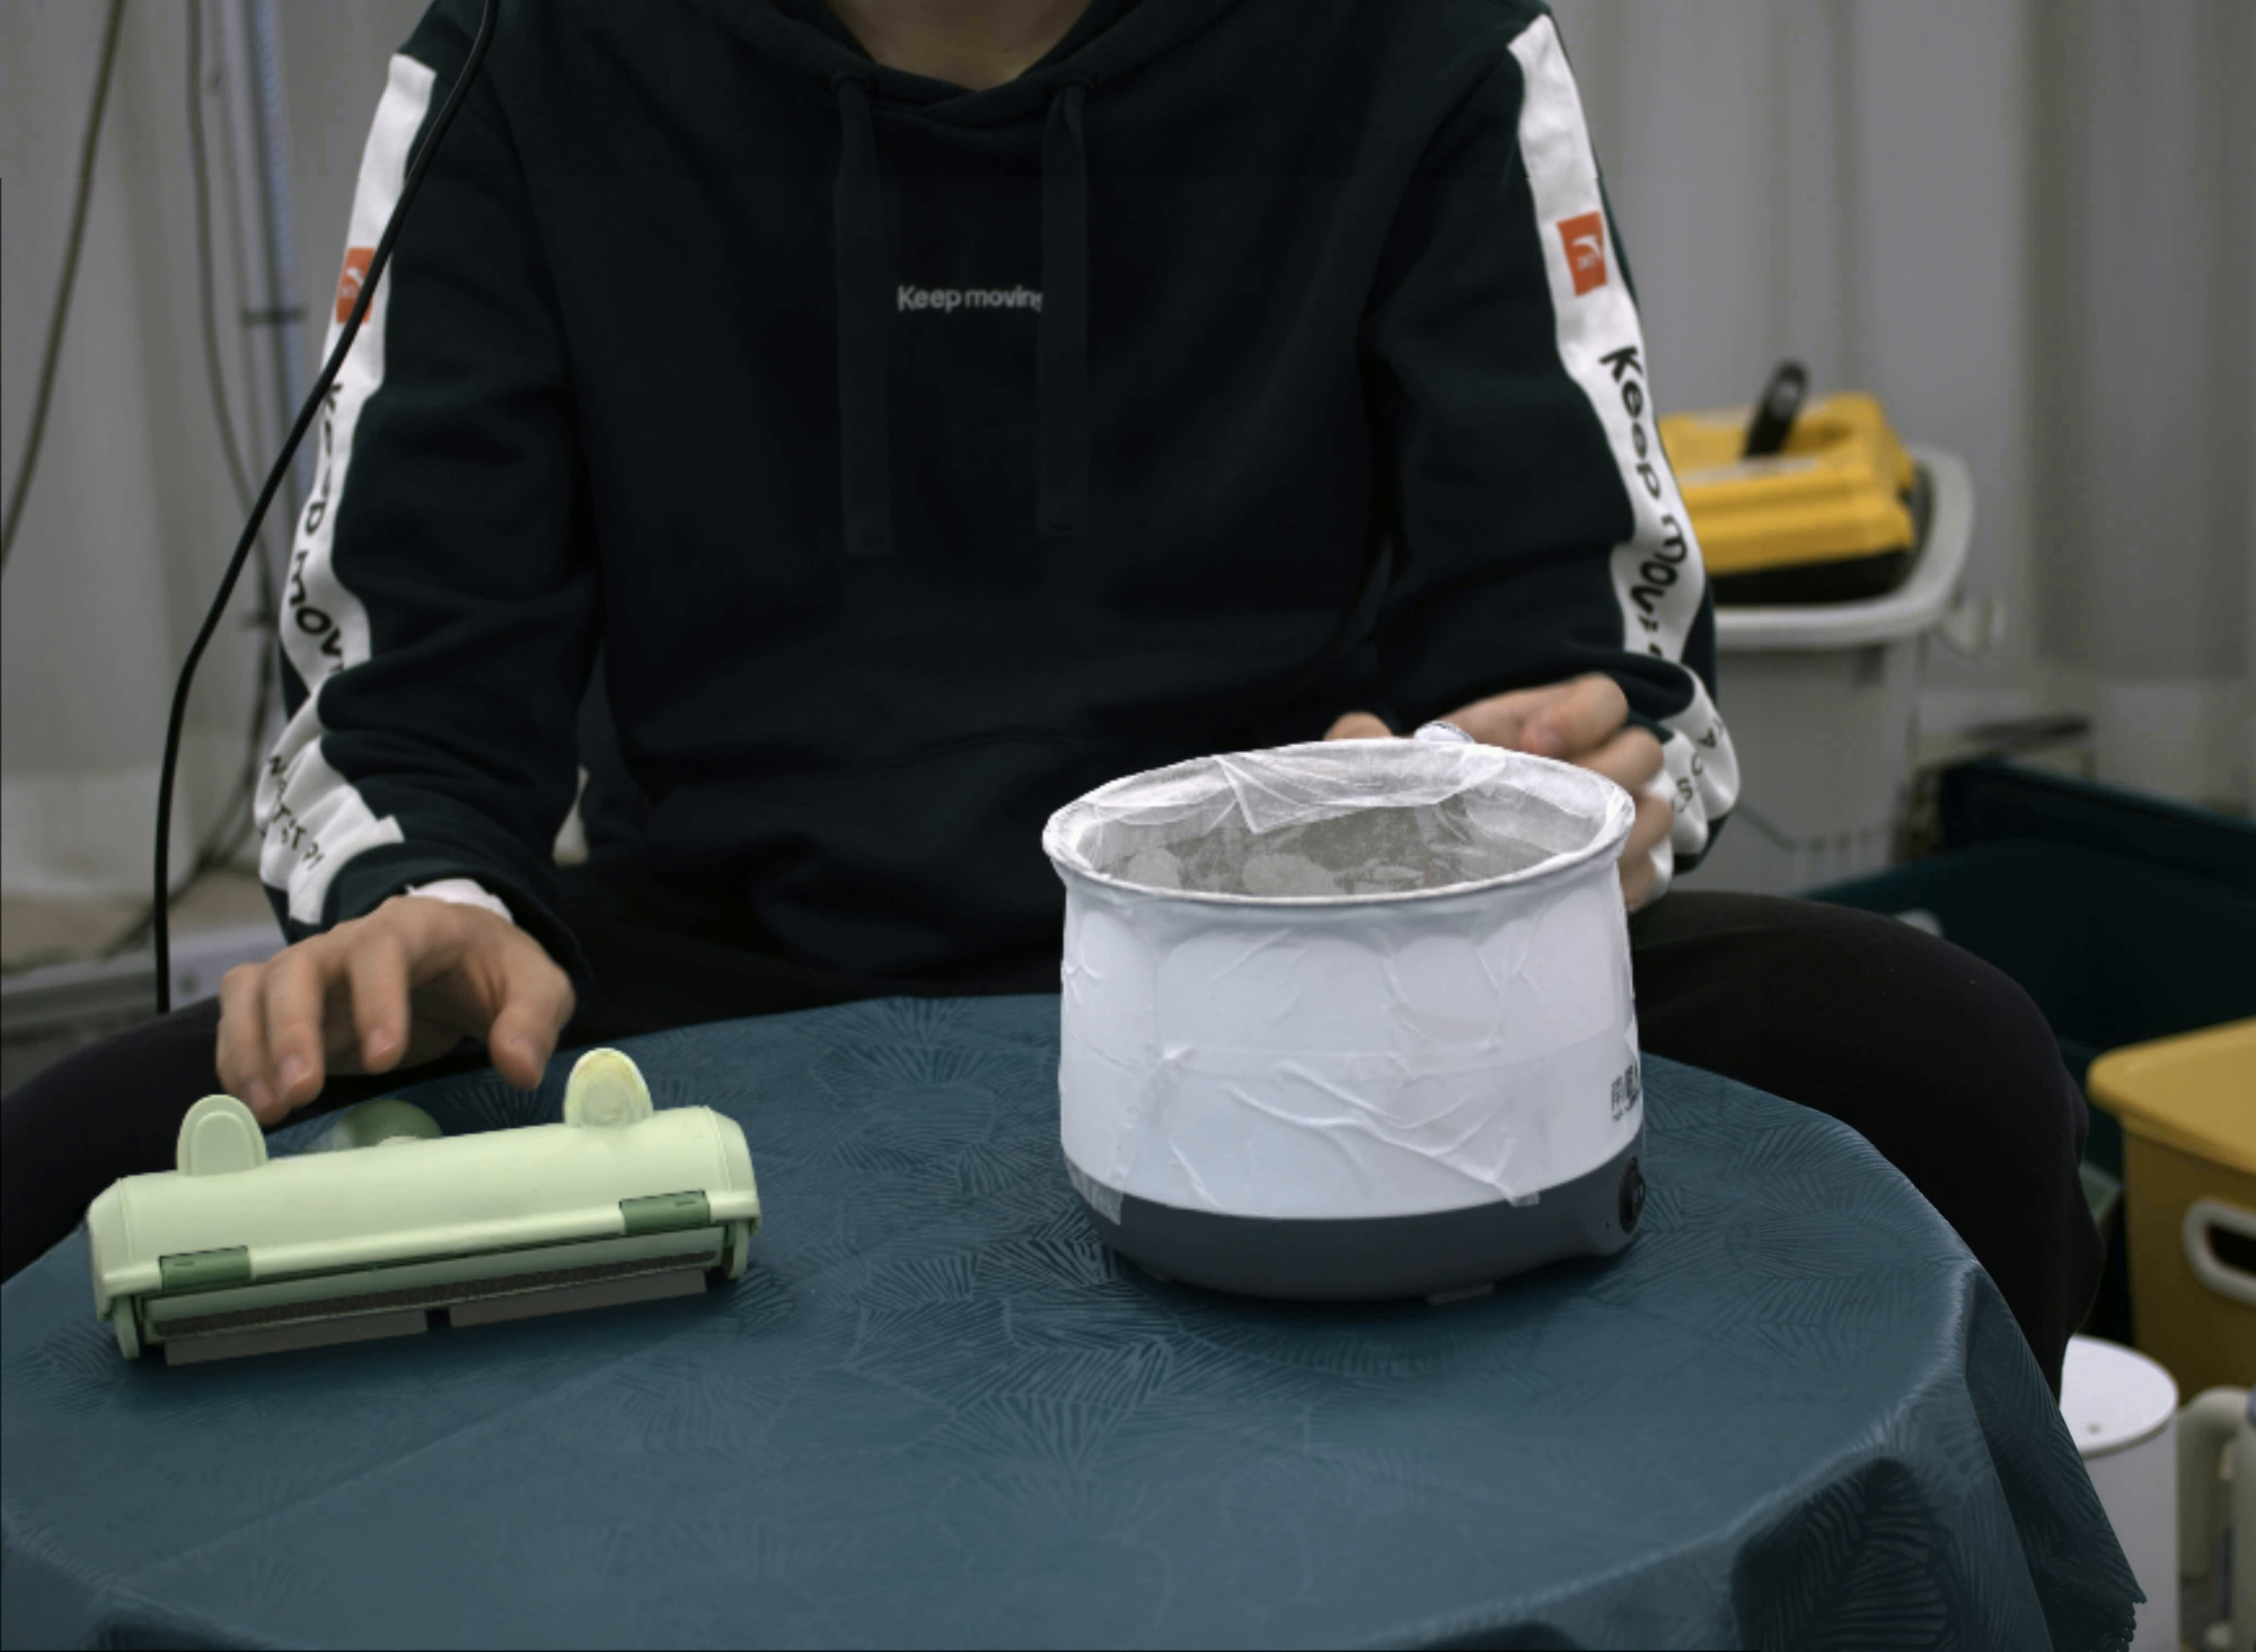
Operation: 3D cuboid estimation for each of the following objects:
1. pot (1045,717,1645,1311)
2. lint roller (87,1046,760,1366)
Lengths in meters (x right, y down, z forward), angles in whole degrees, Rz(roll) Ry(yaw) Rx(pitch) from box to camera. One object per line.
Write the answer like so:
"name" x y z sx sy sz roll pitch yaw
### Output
"pot" 0.076 0.051 1.671 0.179 0.136 0.234 3 17 20
"lint roller" -0.223 0.097 1.680 0.198 0.081 0.185 -7 20 -12
